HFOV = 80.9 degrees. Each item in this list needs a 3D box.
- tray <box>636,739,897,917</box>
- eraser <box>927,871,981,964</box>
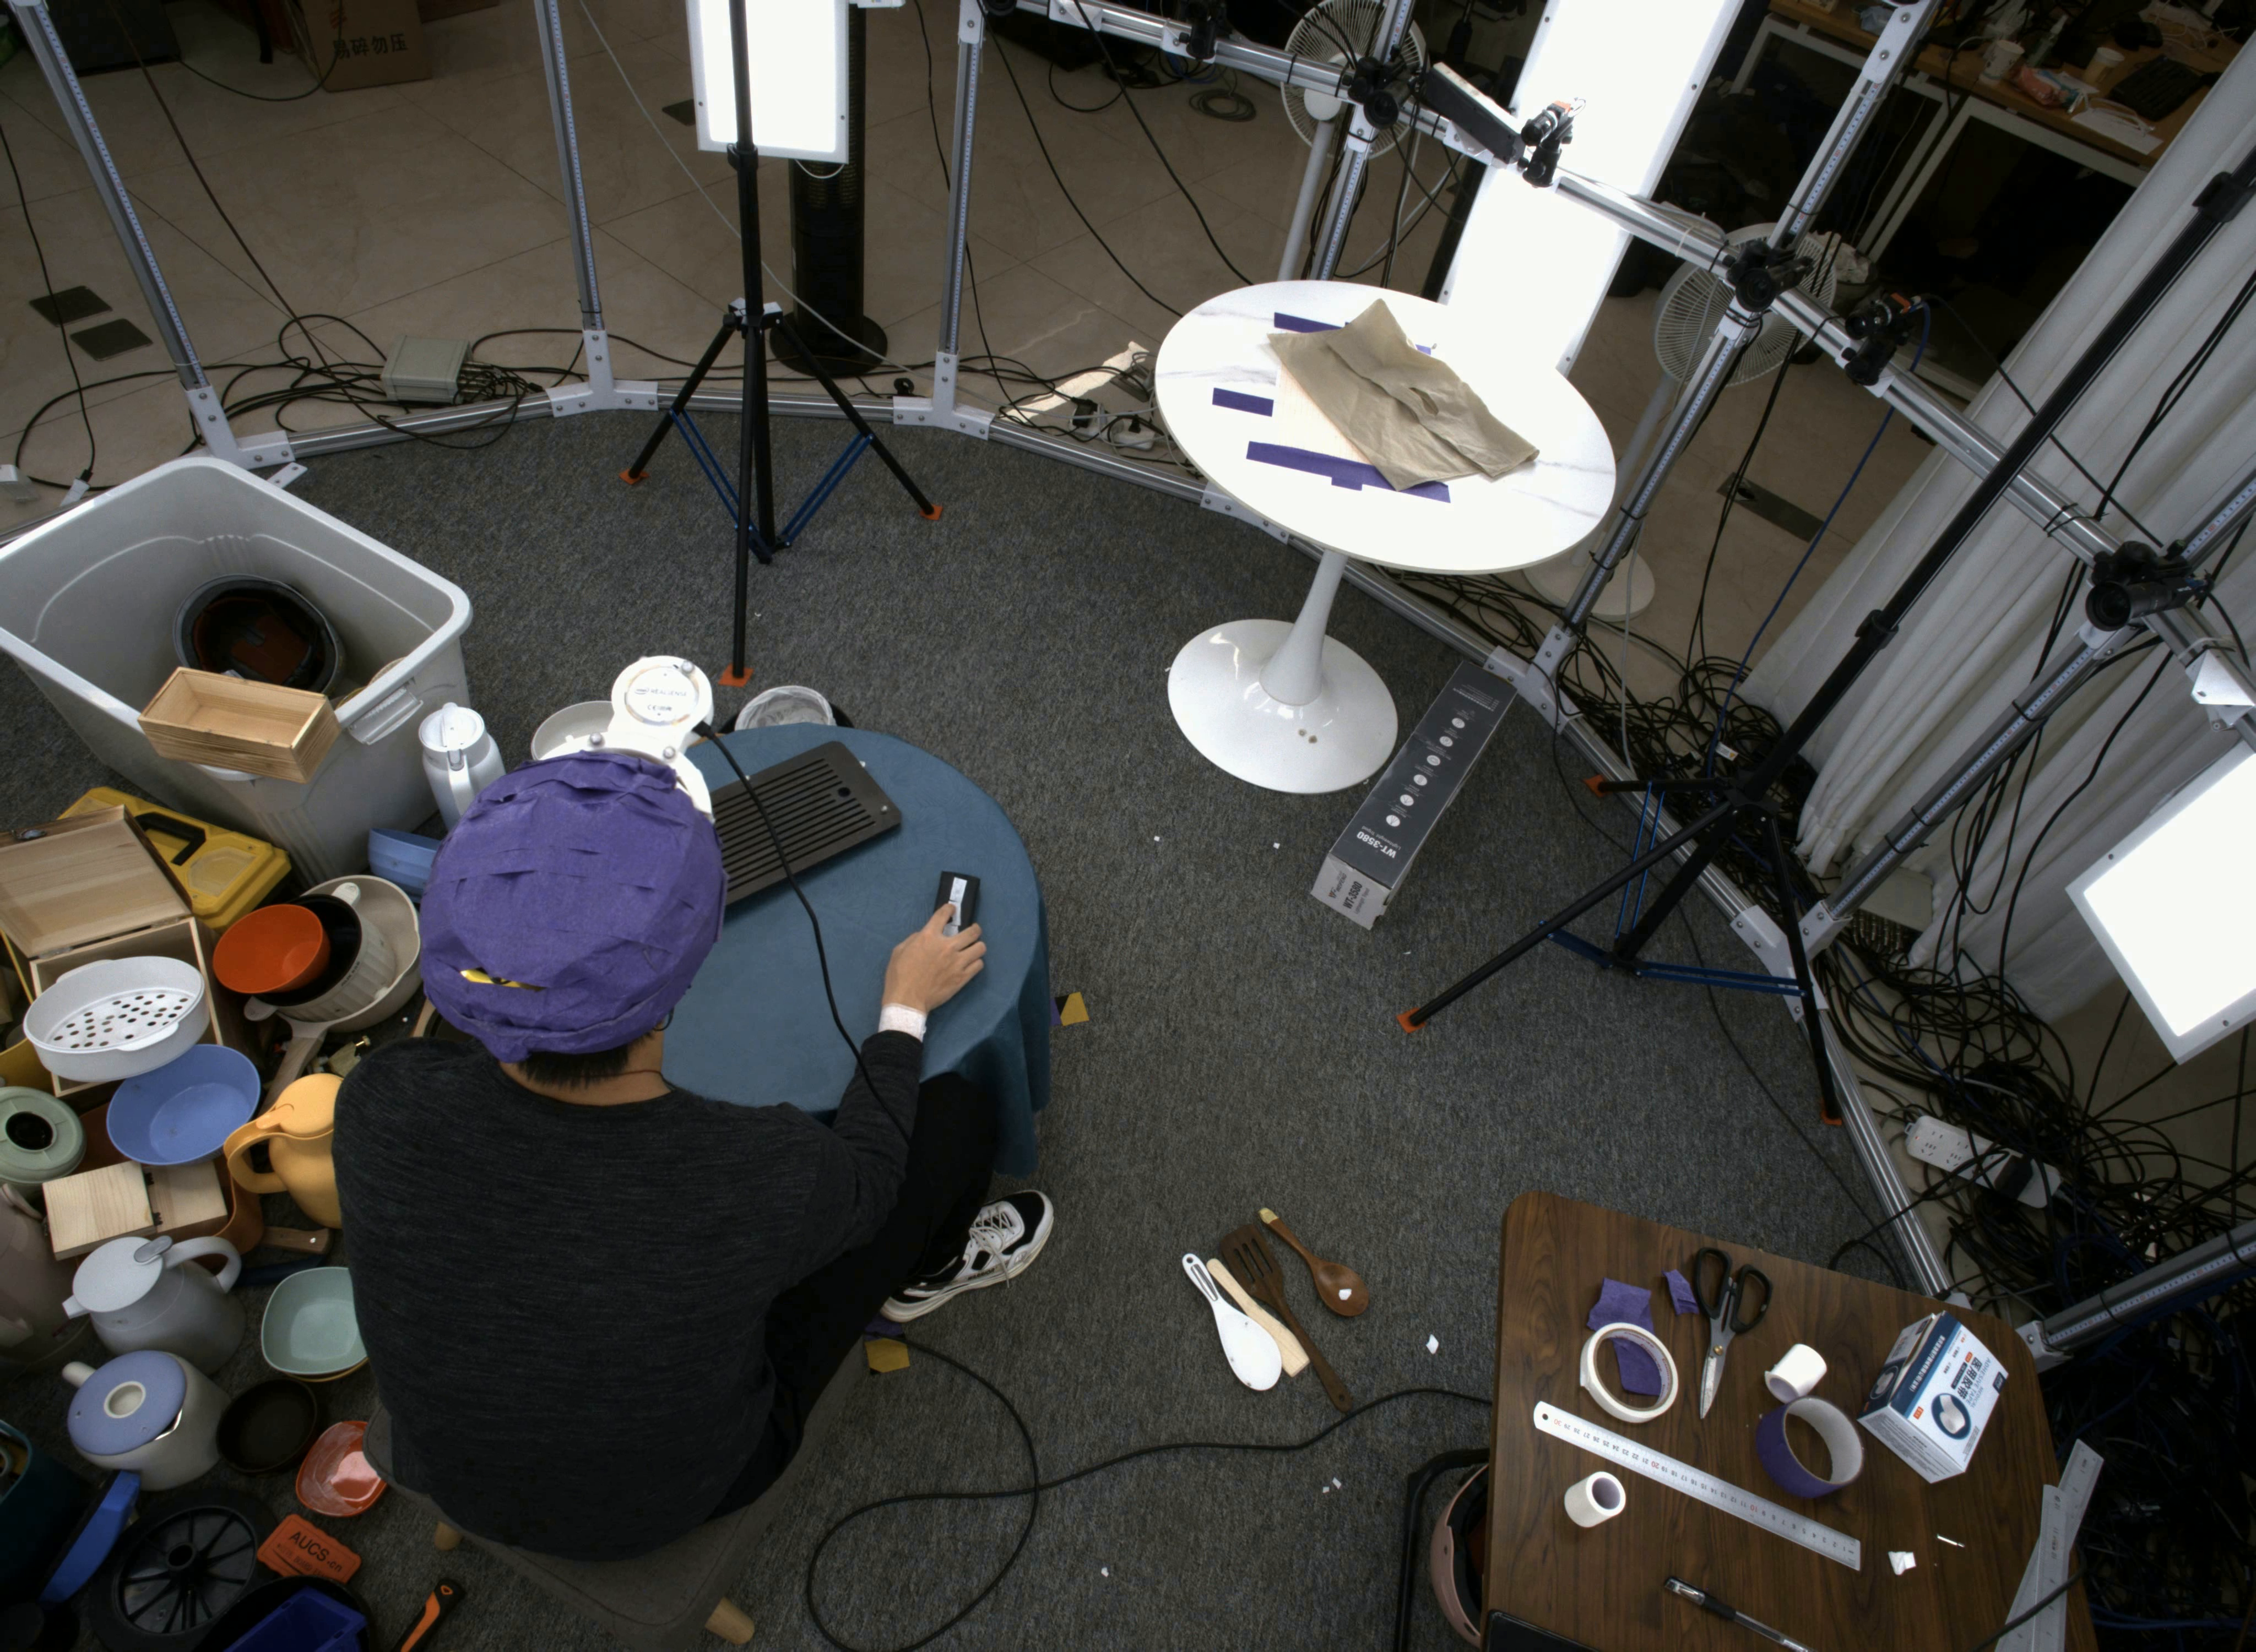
[{"bbox_3d":[-0.469,-0.003,1.692,0.307,0.019,0.166,-28,66,-32],"label":"tray"},{"bbox_3d":[-0.222,0.114,1.669,0.053,0.031,0.123,8,53,-5],"label":"eraser"}]
